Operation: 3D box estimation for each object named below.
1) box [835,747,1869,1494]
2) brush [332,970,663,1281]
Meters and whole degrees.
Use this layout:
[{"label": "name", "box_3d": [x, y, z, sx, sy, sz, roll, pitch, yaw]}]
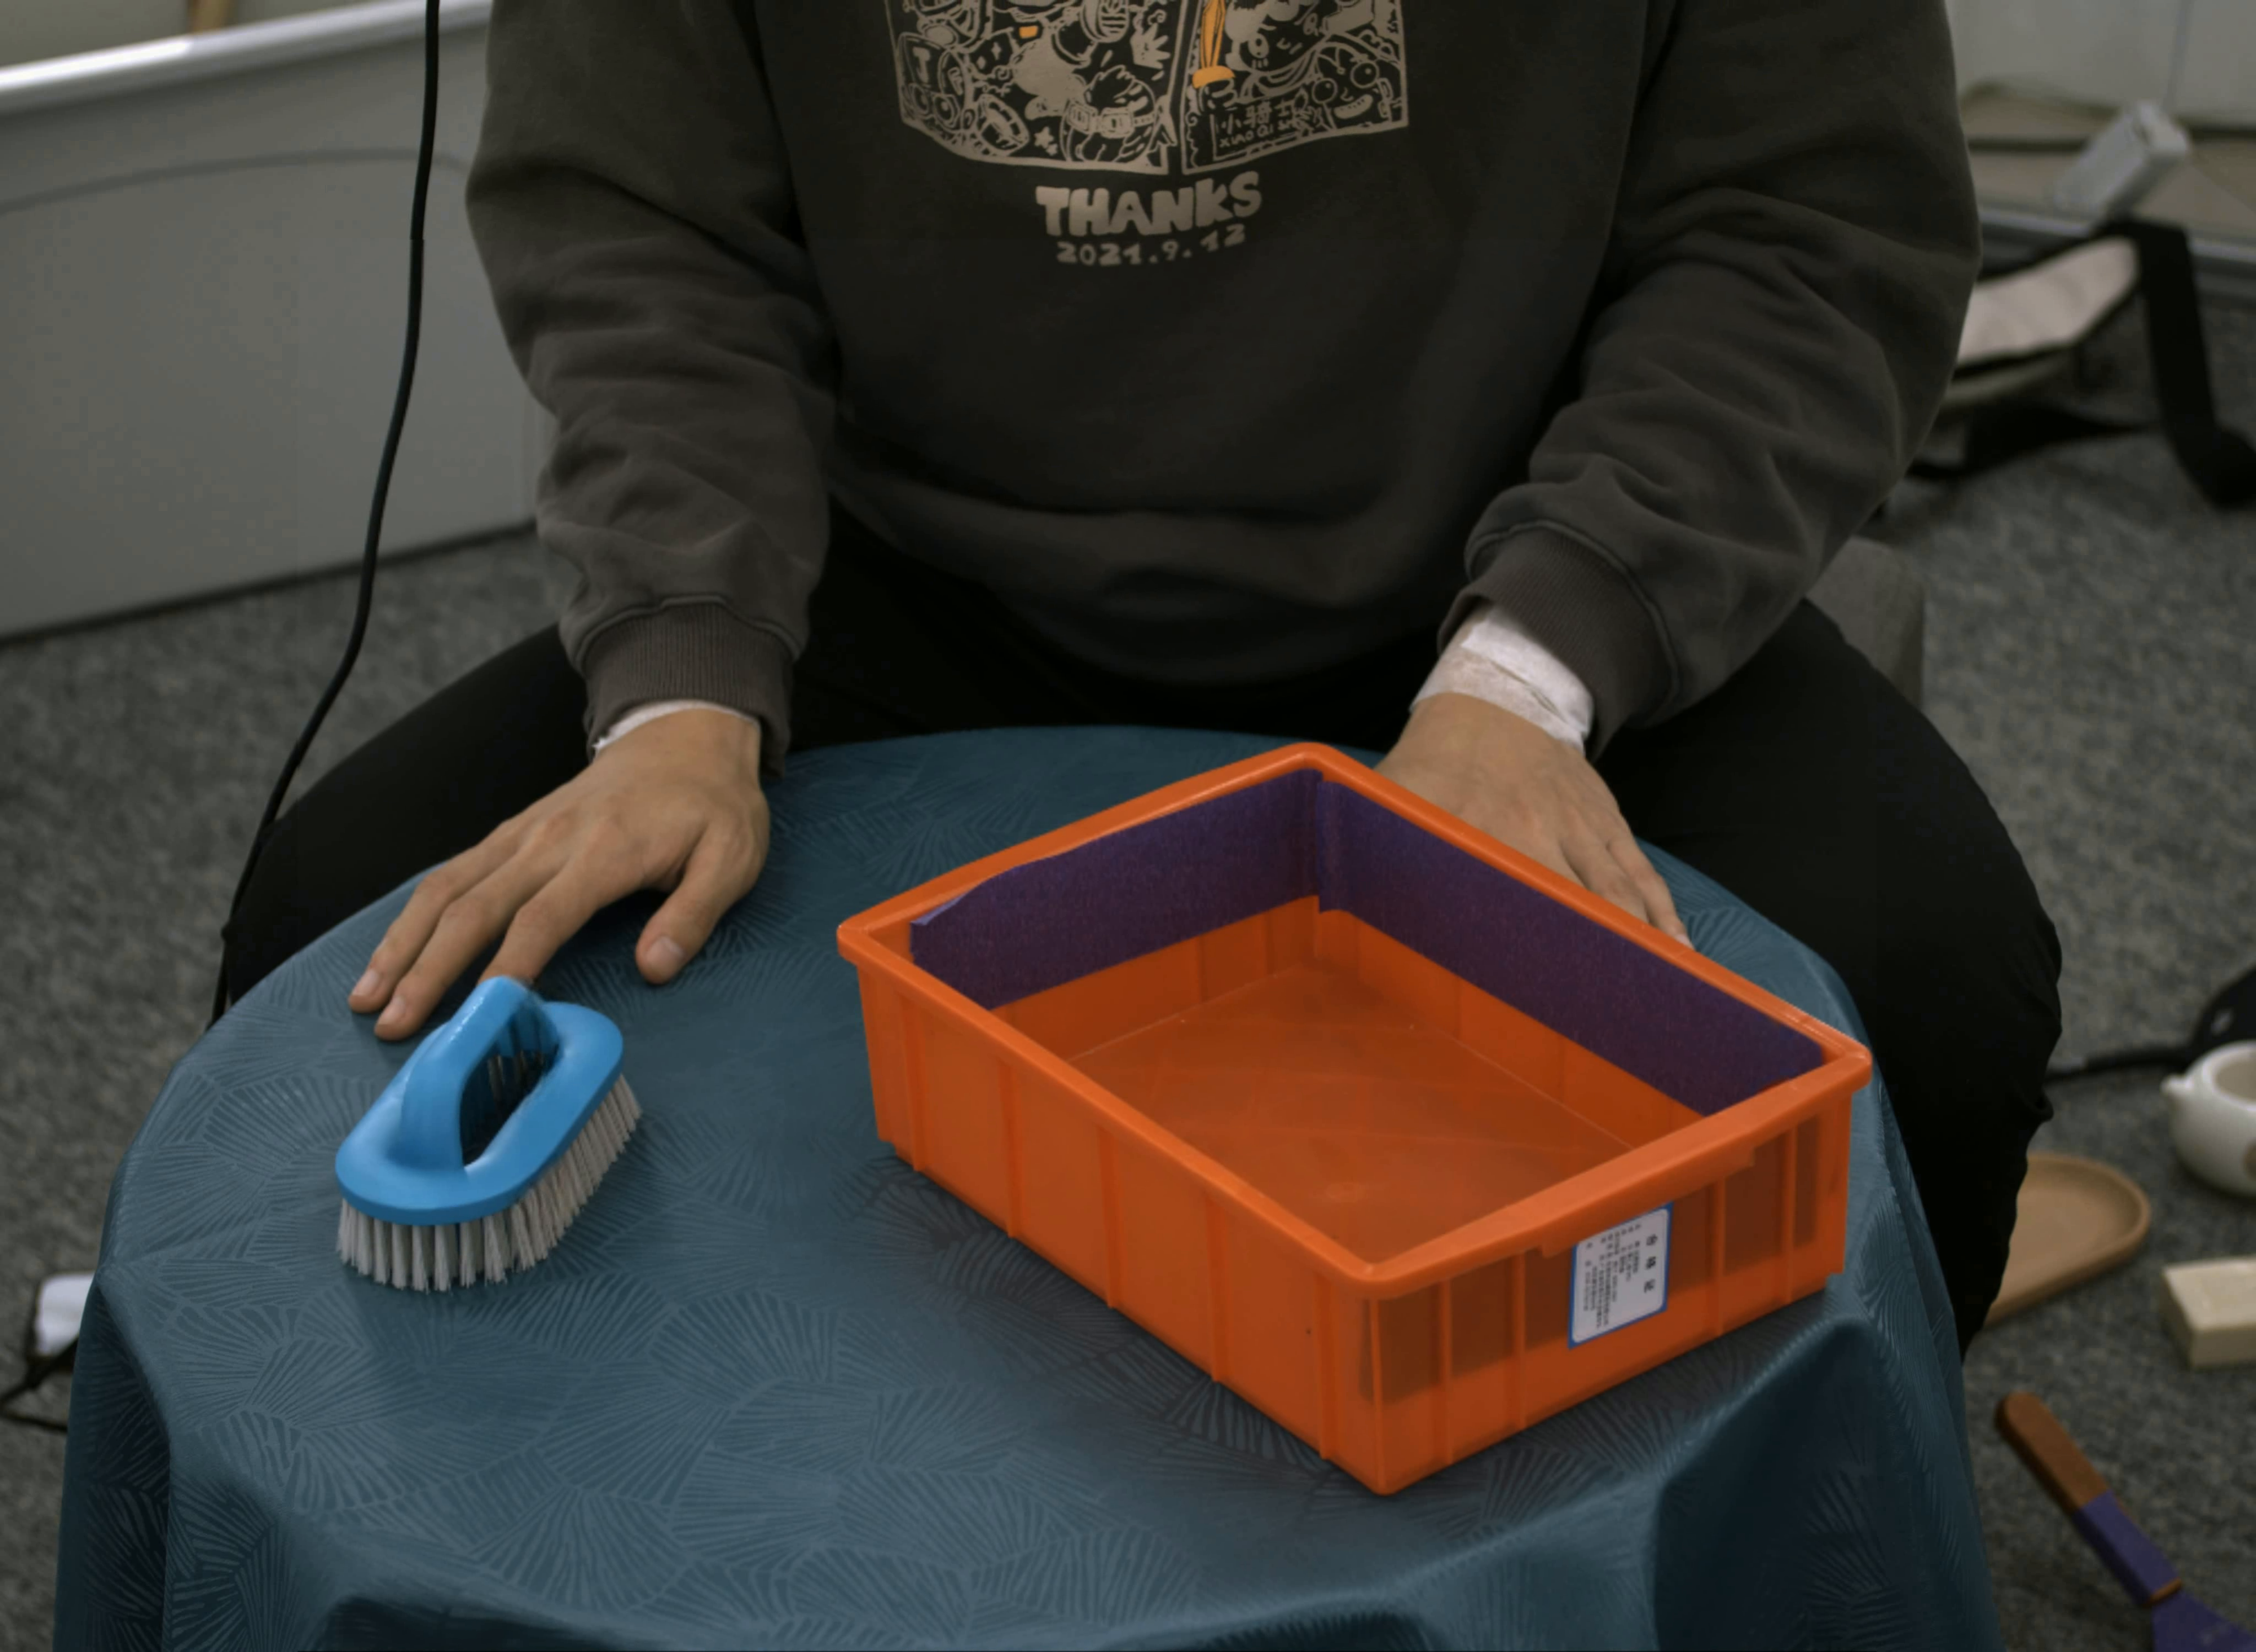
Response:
[{"label": "box", "box_3d": [0.069, 0.091, 1.822, 0.208, 0.095, 0.304, -20, 32, -30]}, {"label": "brush", "box_3d": [-0.213, 0.091, 1.871, 0.083, 0.063, 0.144, 2, 26, 20]}]
